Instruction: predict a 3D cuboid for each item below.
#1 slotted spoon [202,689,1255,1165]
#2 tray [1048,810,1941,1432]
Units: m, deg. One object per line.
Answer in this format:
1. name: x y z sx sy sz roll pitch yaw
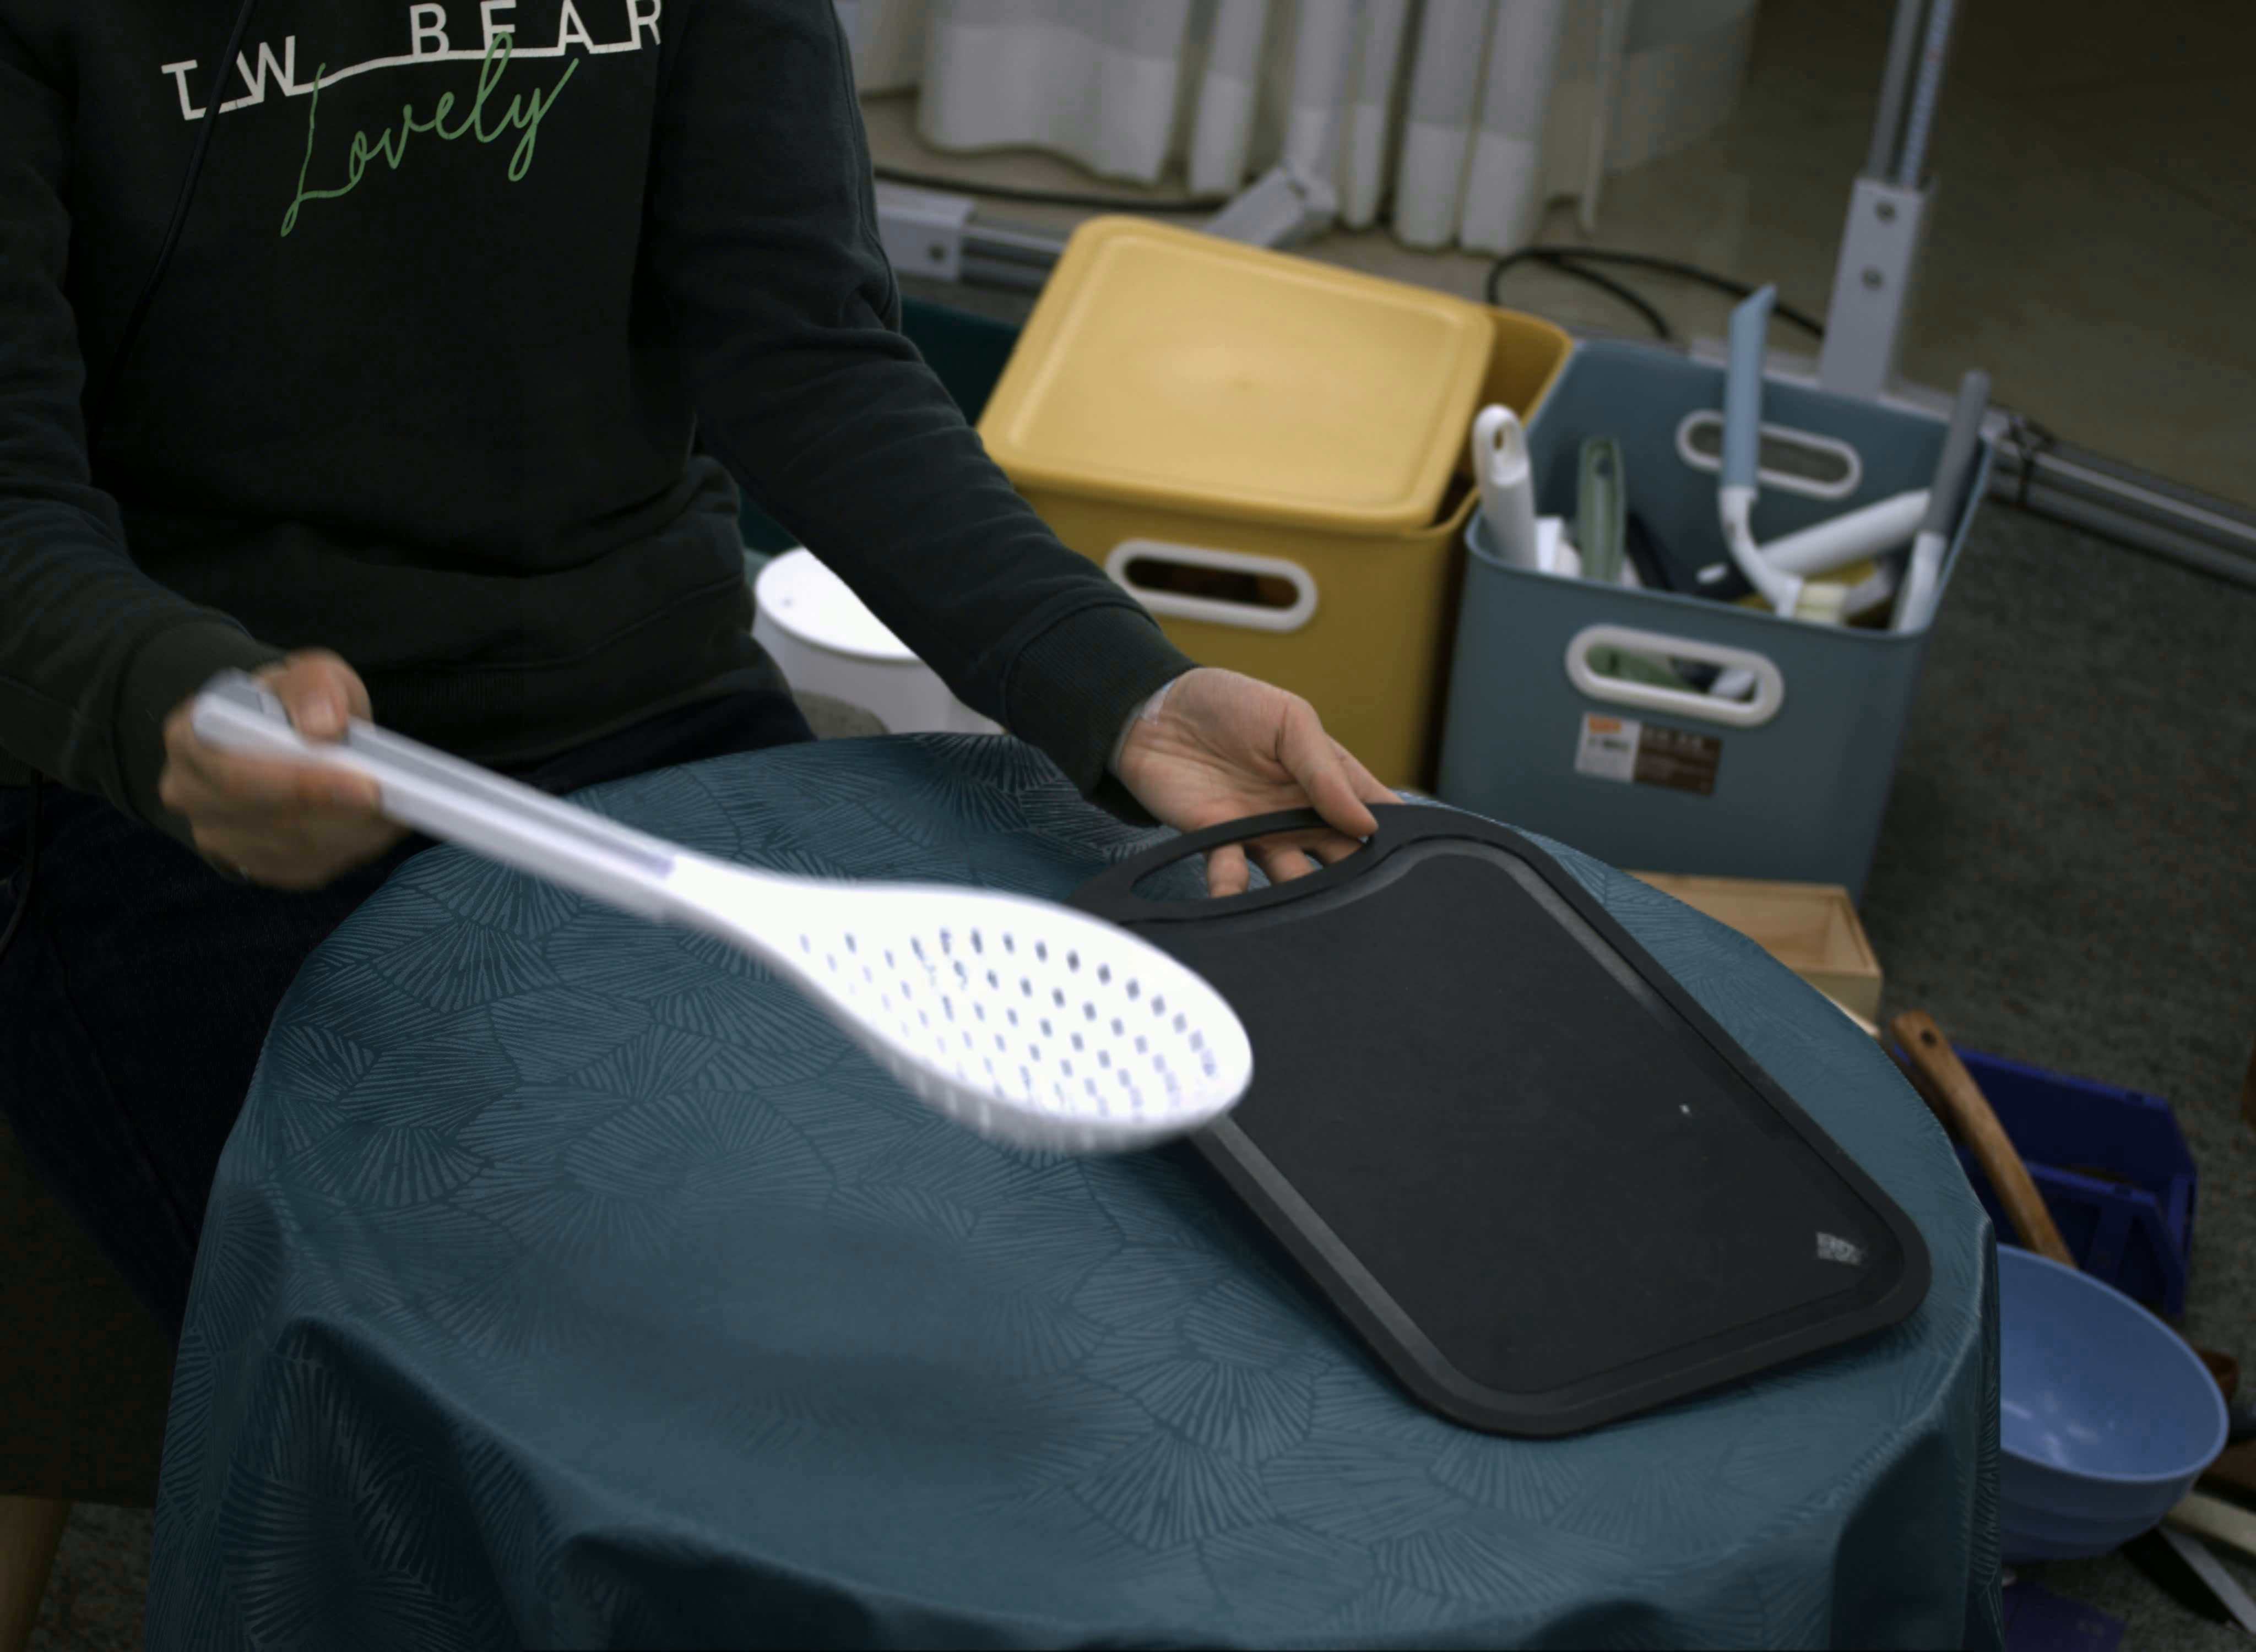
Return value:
1. slotted spoon: -0.128 0.027 1.662 0.349 0.045 0.136 25 24 5
2. tray: 0.117 0.090 1.828 0.210 0.010 0.328 -14 41 -28
